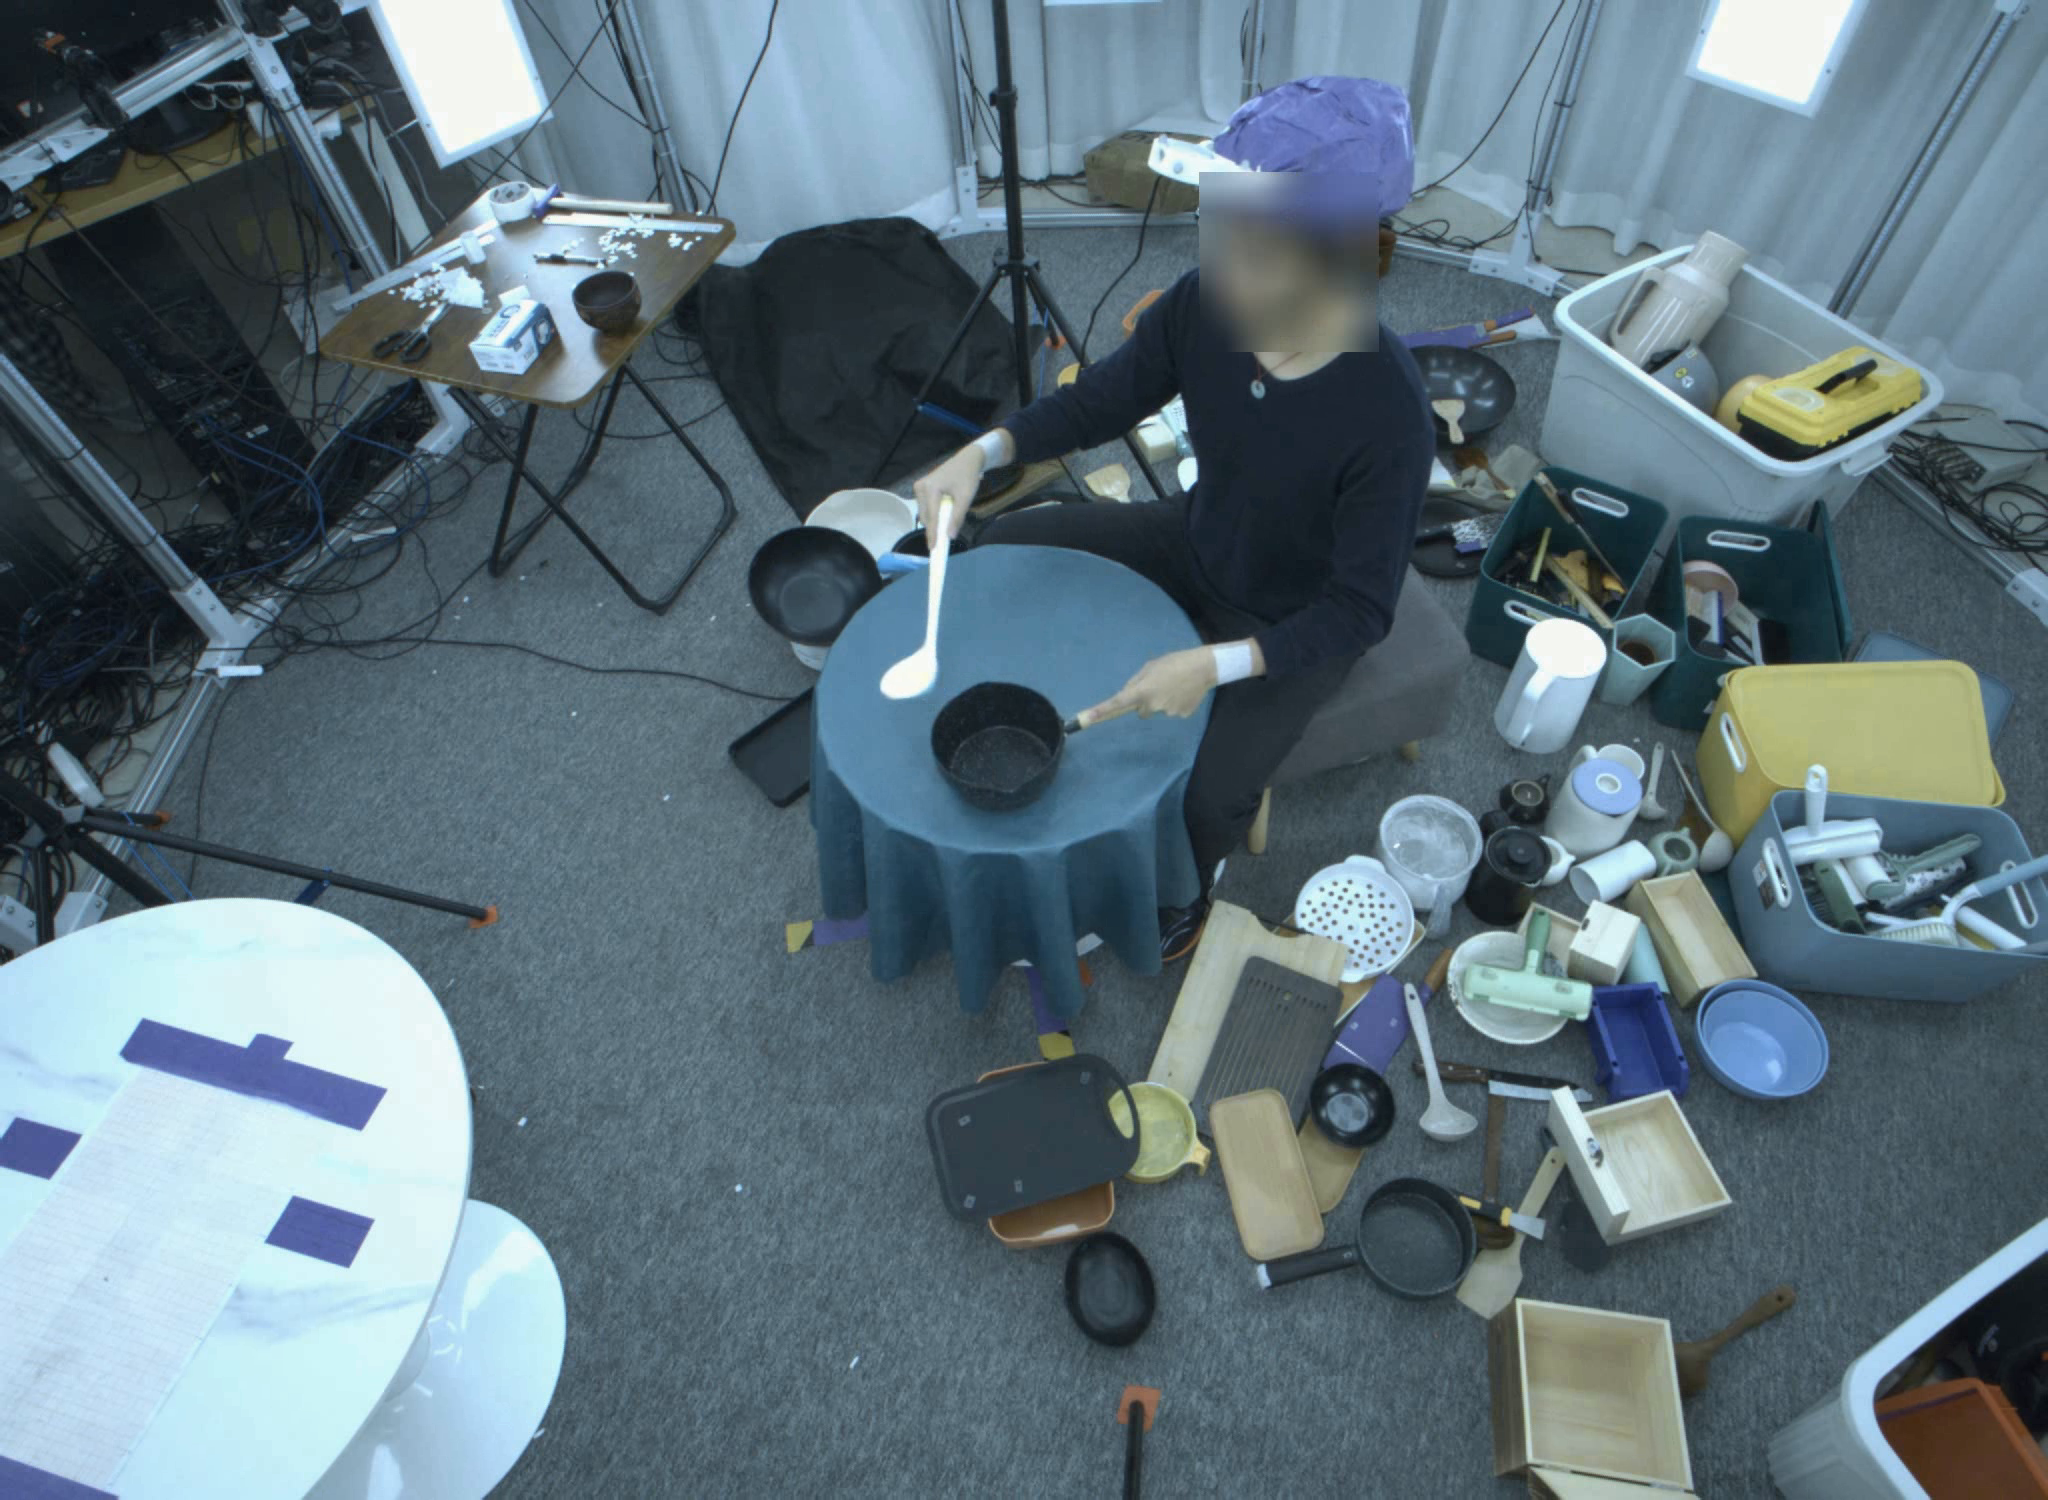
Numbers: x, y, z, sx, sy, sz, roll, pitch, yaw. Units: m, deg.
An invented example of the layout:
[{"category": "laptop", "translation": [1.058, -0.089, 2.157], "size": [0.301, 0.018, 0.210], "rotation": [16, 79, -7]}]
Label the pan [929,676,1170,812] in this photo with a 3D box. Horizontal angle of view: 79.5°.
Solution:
[{"category": "pan", "translation": [0.039, -0.024, 1.735], "size": [0.344, 0.109, 0.204], "rotation": [-15, 54, -6]}]

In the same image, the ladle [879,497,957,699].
[{"category": "ladle", "translation": [-0.144, -0.211, 1.704], "size": [0.088, 0.071, 0.293], "rotation": [11, 94, 48]}]
